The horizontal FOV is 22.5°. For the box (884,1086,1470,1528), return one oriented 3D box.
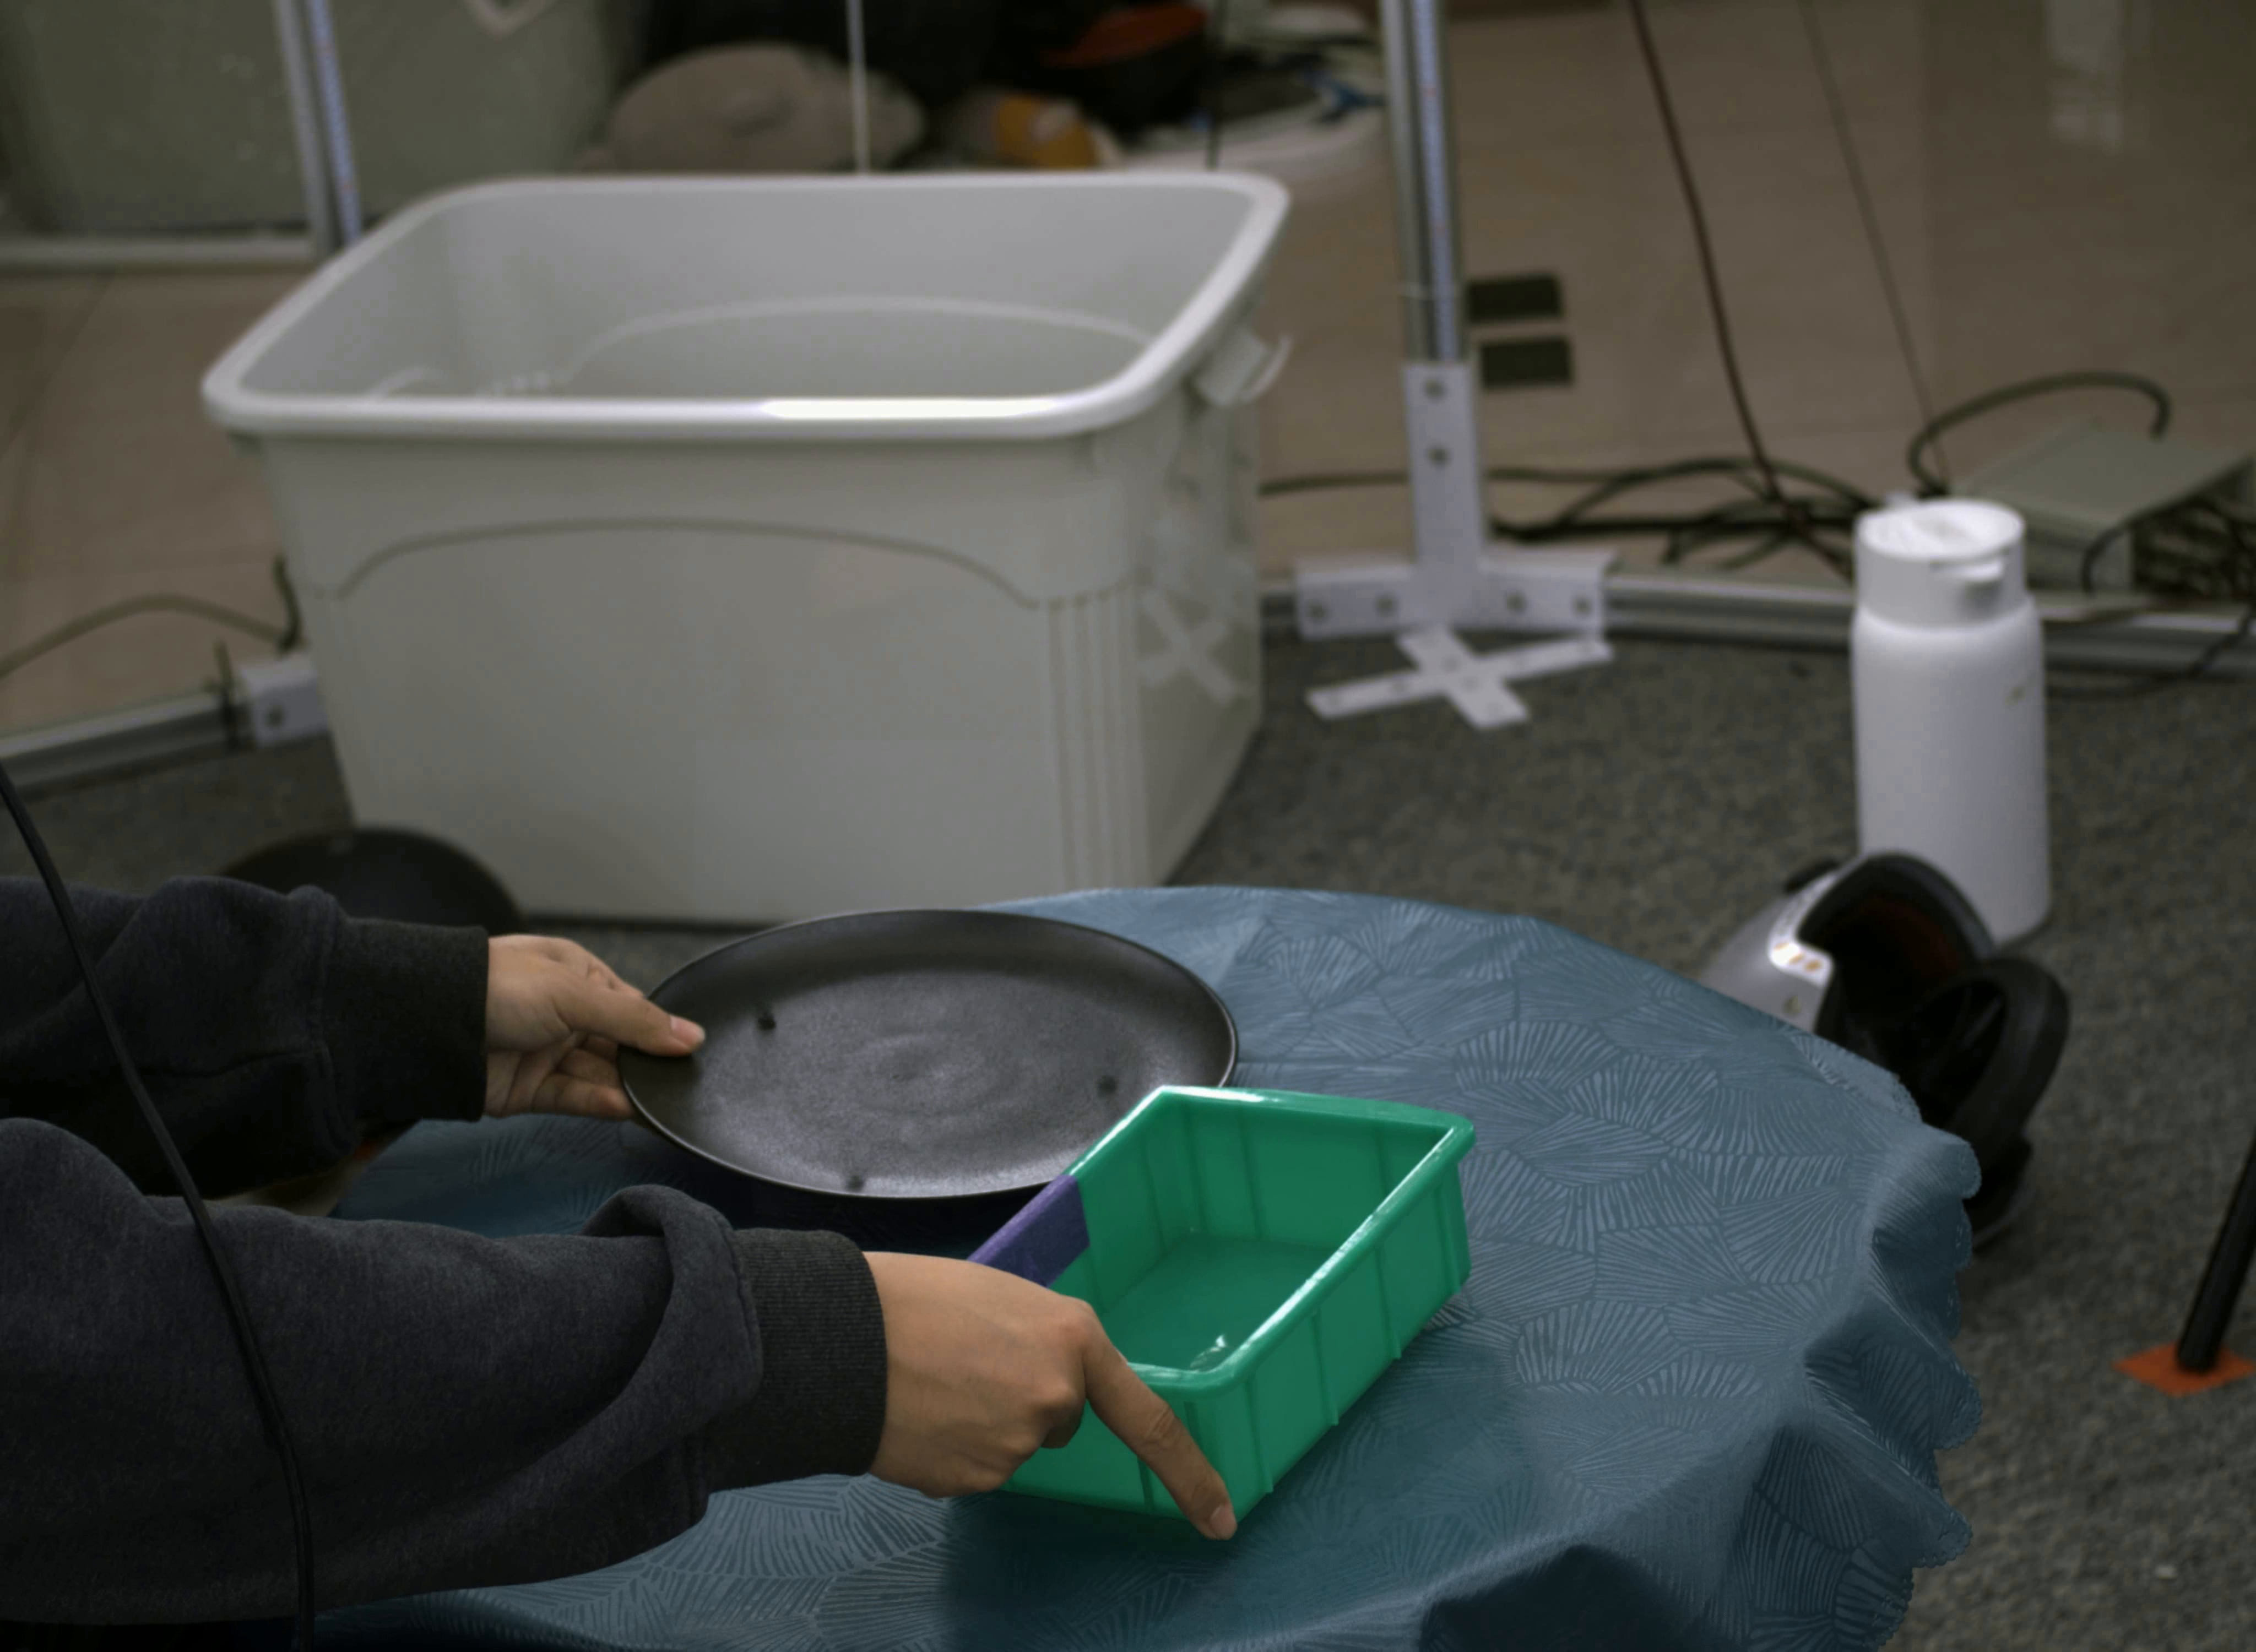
[{"bbox_3d":[0.024,0.168,1.988,0.138,0.066,0.208,3,28,31],"label":"box"}]

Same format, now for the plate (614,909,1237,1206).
[{"bbox_3d":[-0.079,0.095,2.212,0.244,0.024,0.240,0,26,0],"label":"plate"}]
